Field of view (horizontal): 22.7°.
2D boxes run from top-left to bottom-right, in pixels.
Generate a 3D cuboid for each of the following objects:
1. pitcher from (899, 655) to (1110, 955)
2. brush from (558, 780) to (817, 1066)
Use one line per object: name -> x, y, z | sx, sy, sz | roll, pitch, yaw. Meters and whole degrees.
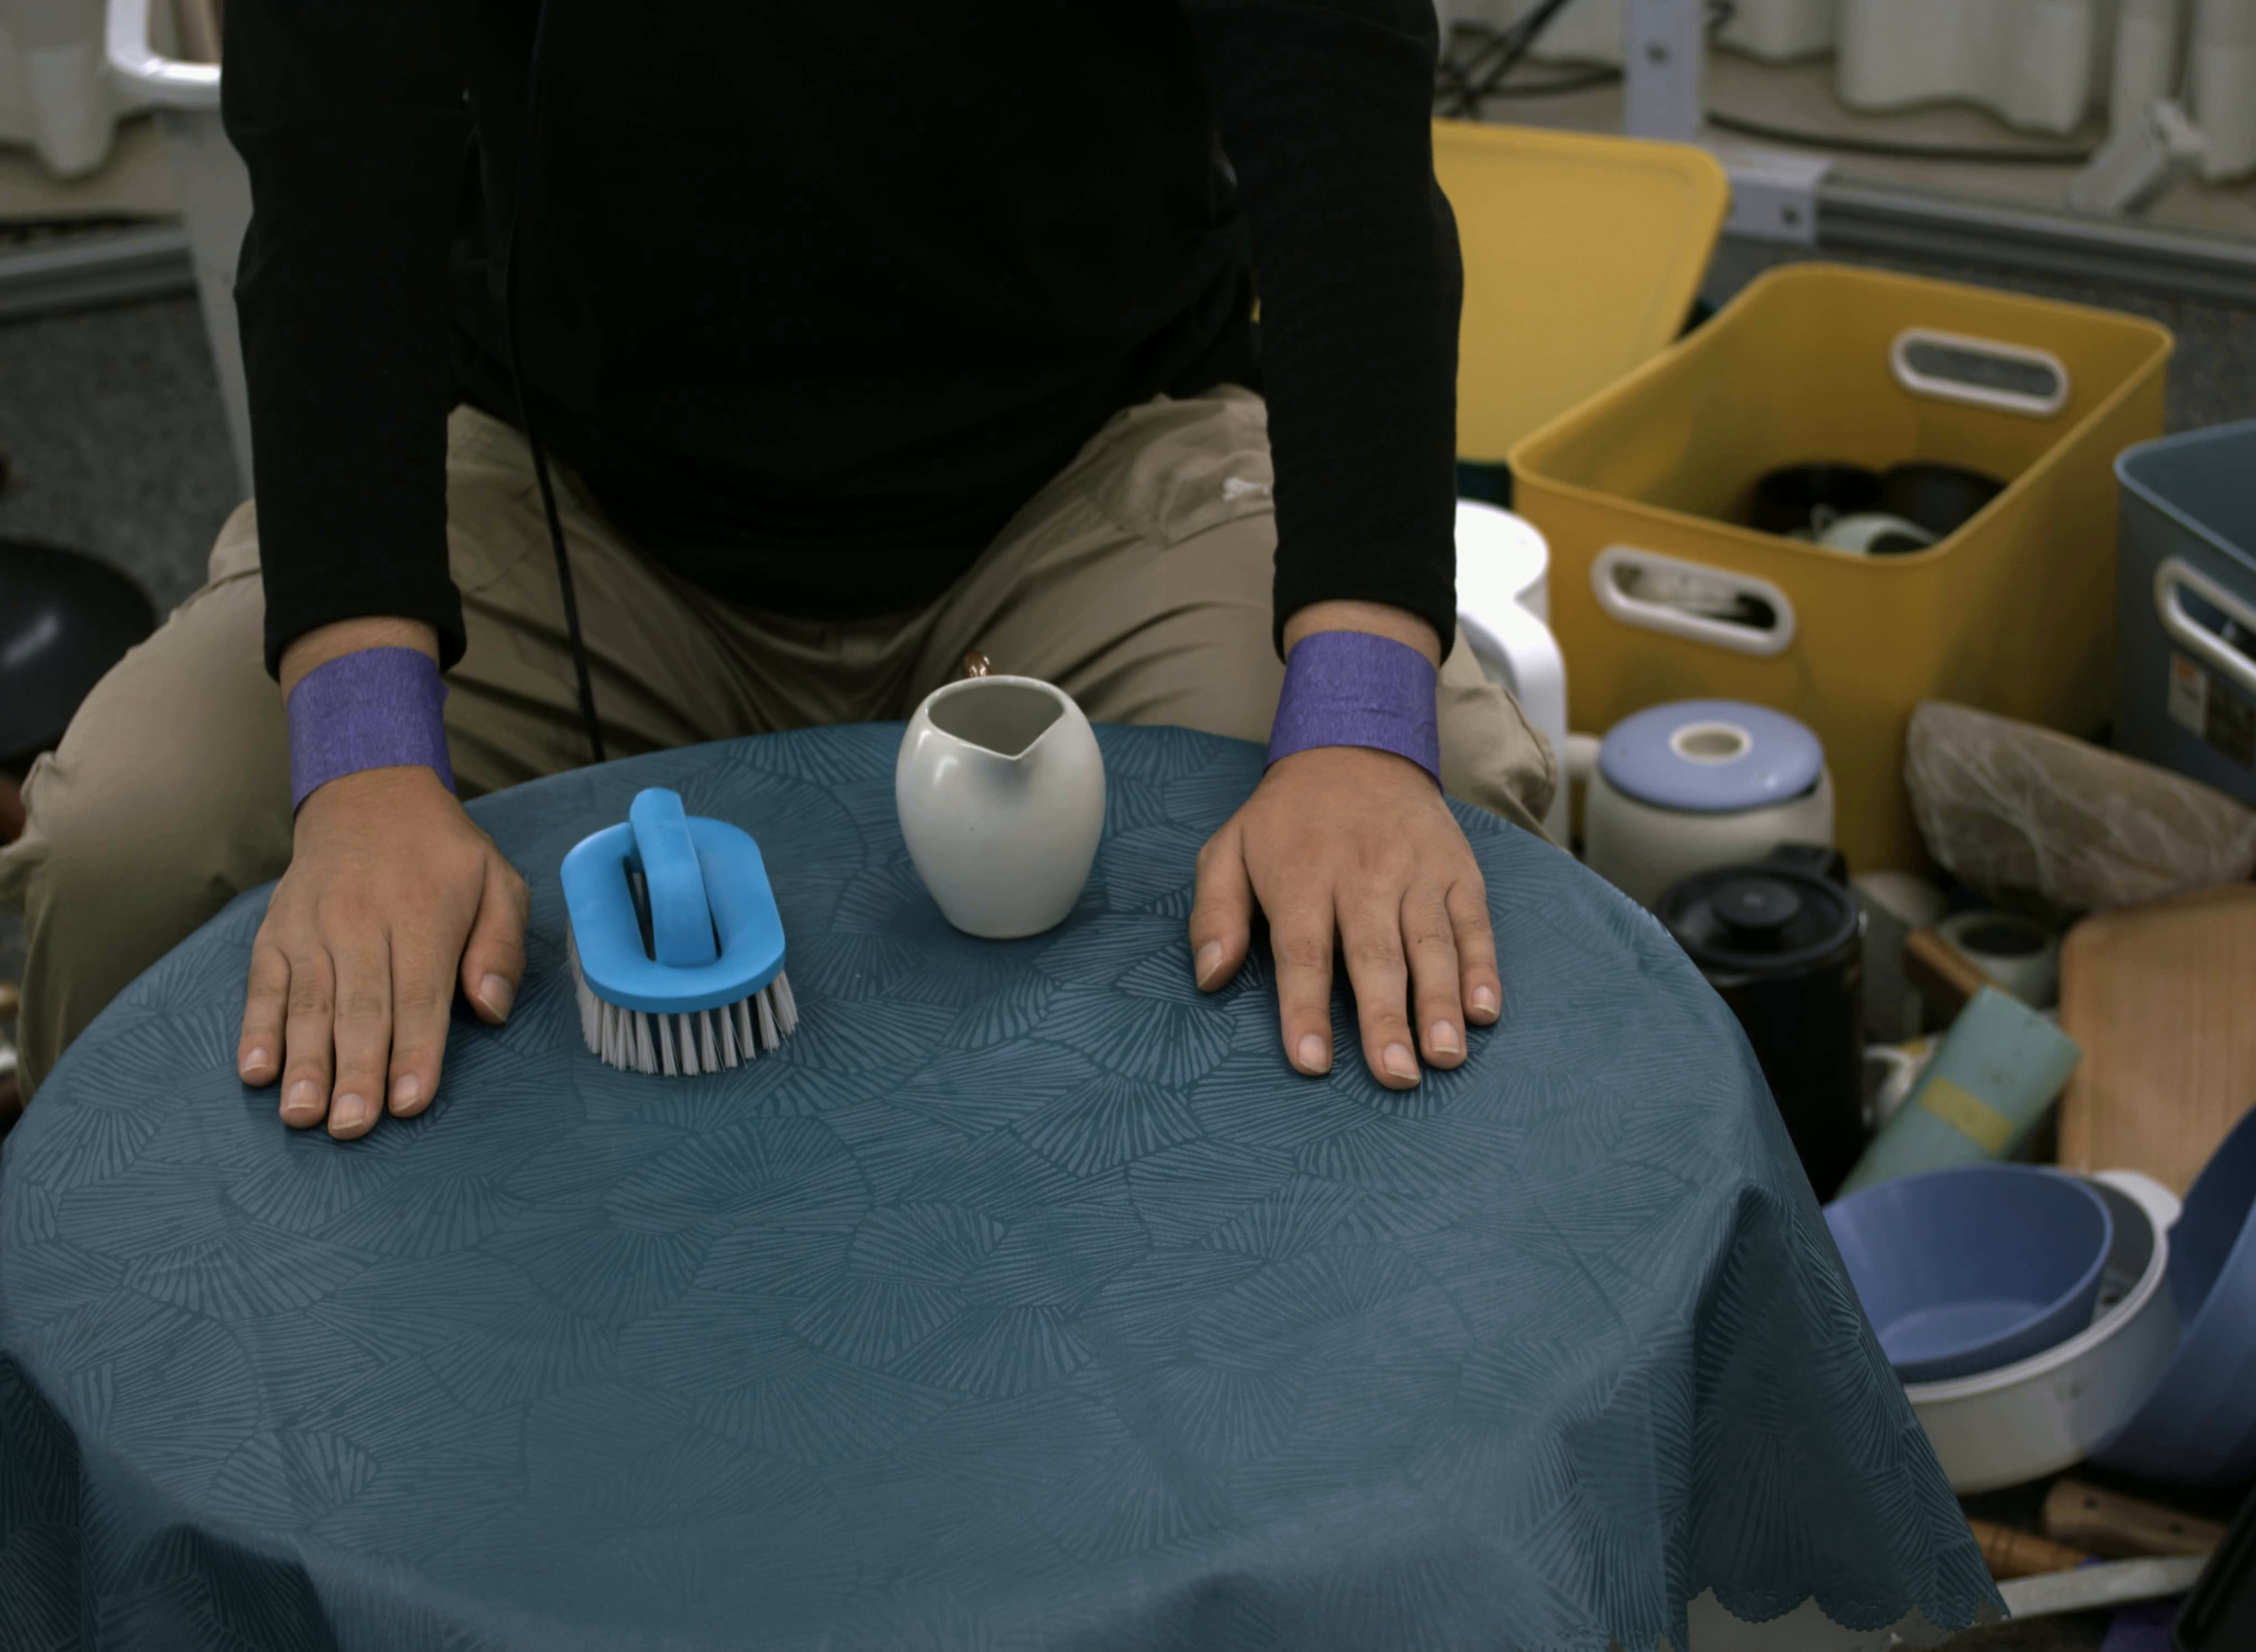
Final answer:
pitcher -> -0.045, -0.006, 2.019 | 0.075, 0.087, 0.121 | 0, 30, -6
brush -> -0.160, 0.026, 1.991 | 0.084, 0.063, 0.143 | -11, 27, -6
